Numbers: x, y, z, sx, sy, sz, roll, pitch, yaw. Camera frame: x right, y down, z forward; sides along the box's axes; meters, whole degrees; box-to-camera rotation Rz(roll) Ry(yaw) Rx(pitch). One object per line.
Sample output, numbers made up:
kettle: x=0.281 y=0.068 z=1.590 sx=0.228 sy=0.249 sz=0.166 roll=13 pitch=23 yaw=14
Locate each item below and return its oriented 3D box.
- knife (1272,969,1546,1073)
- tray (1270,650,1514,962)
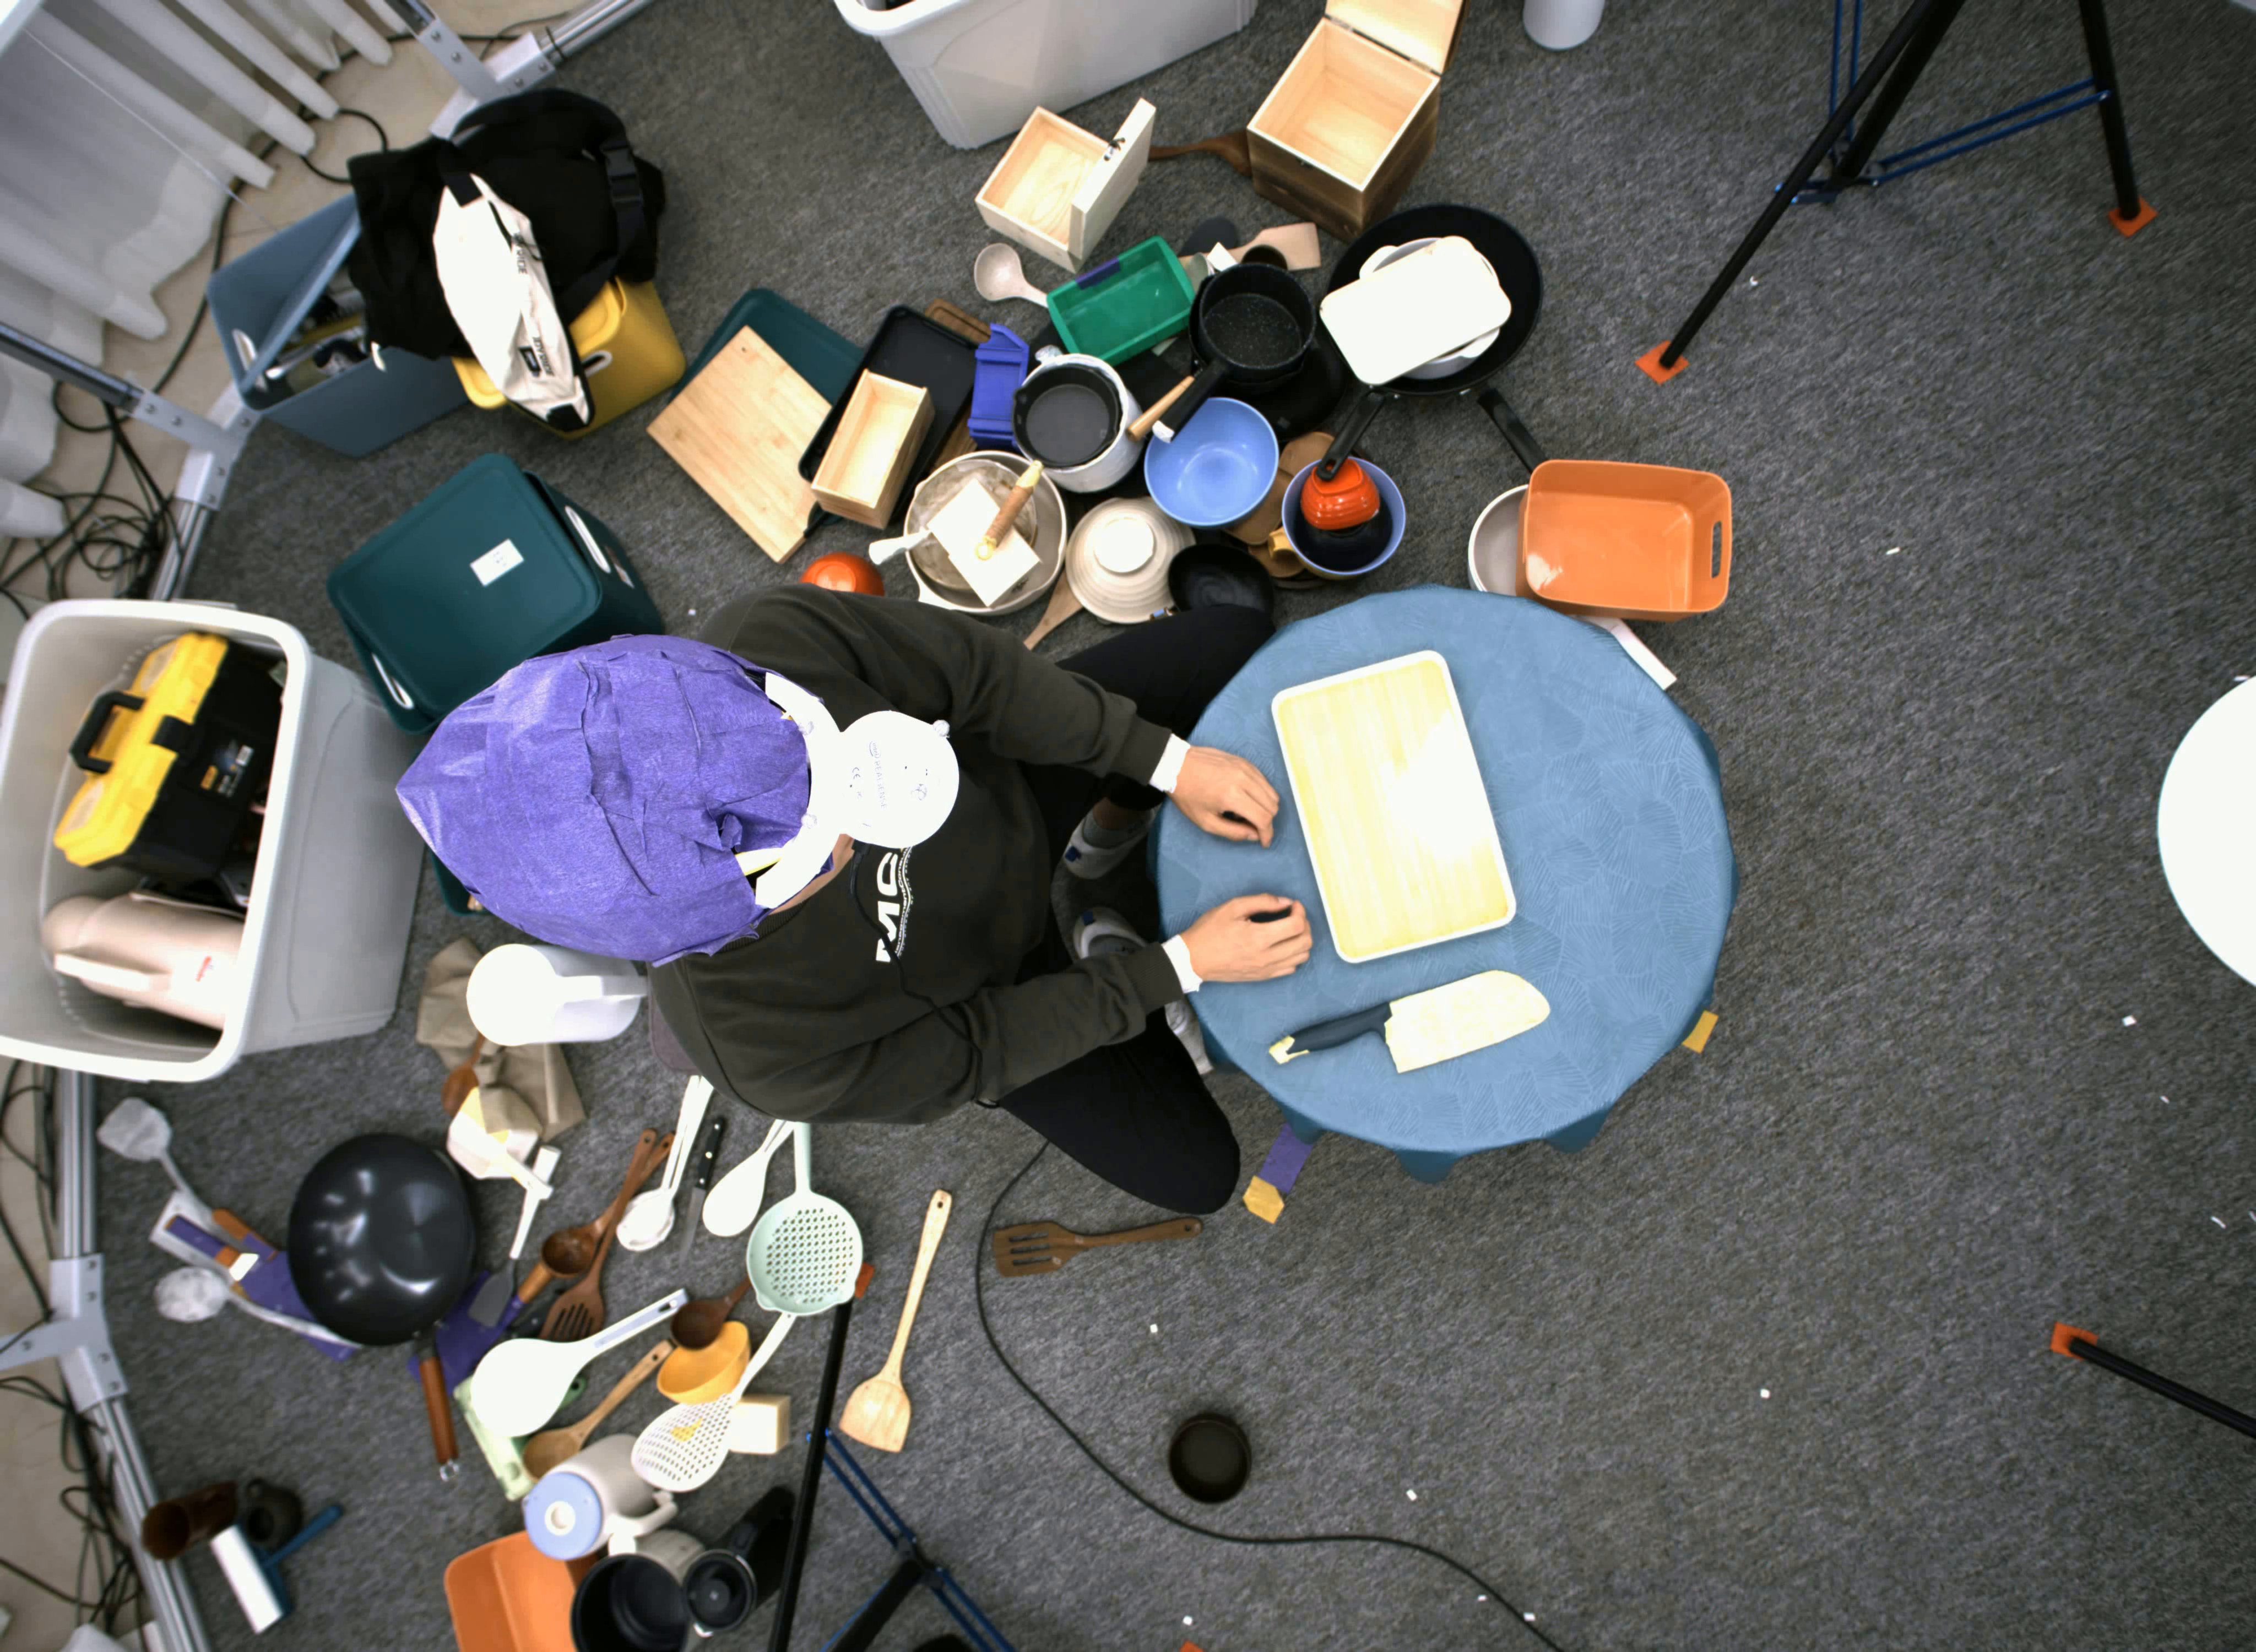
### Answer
knife: x=0.293 y=0.212 z=1.440 sx=0.291 sy=0.027 sz=0.080 roll=-16 pitch=82 yaw=9
tray: x=0.276 y=-0.022 z=1.451 sx=0.193 sy=0.027 sz=0.298 roll=-15 pitch=84 yaw=11
